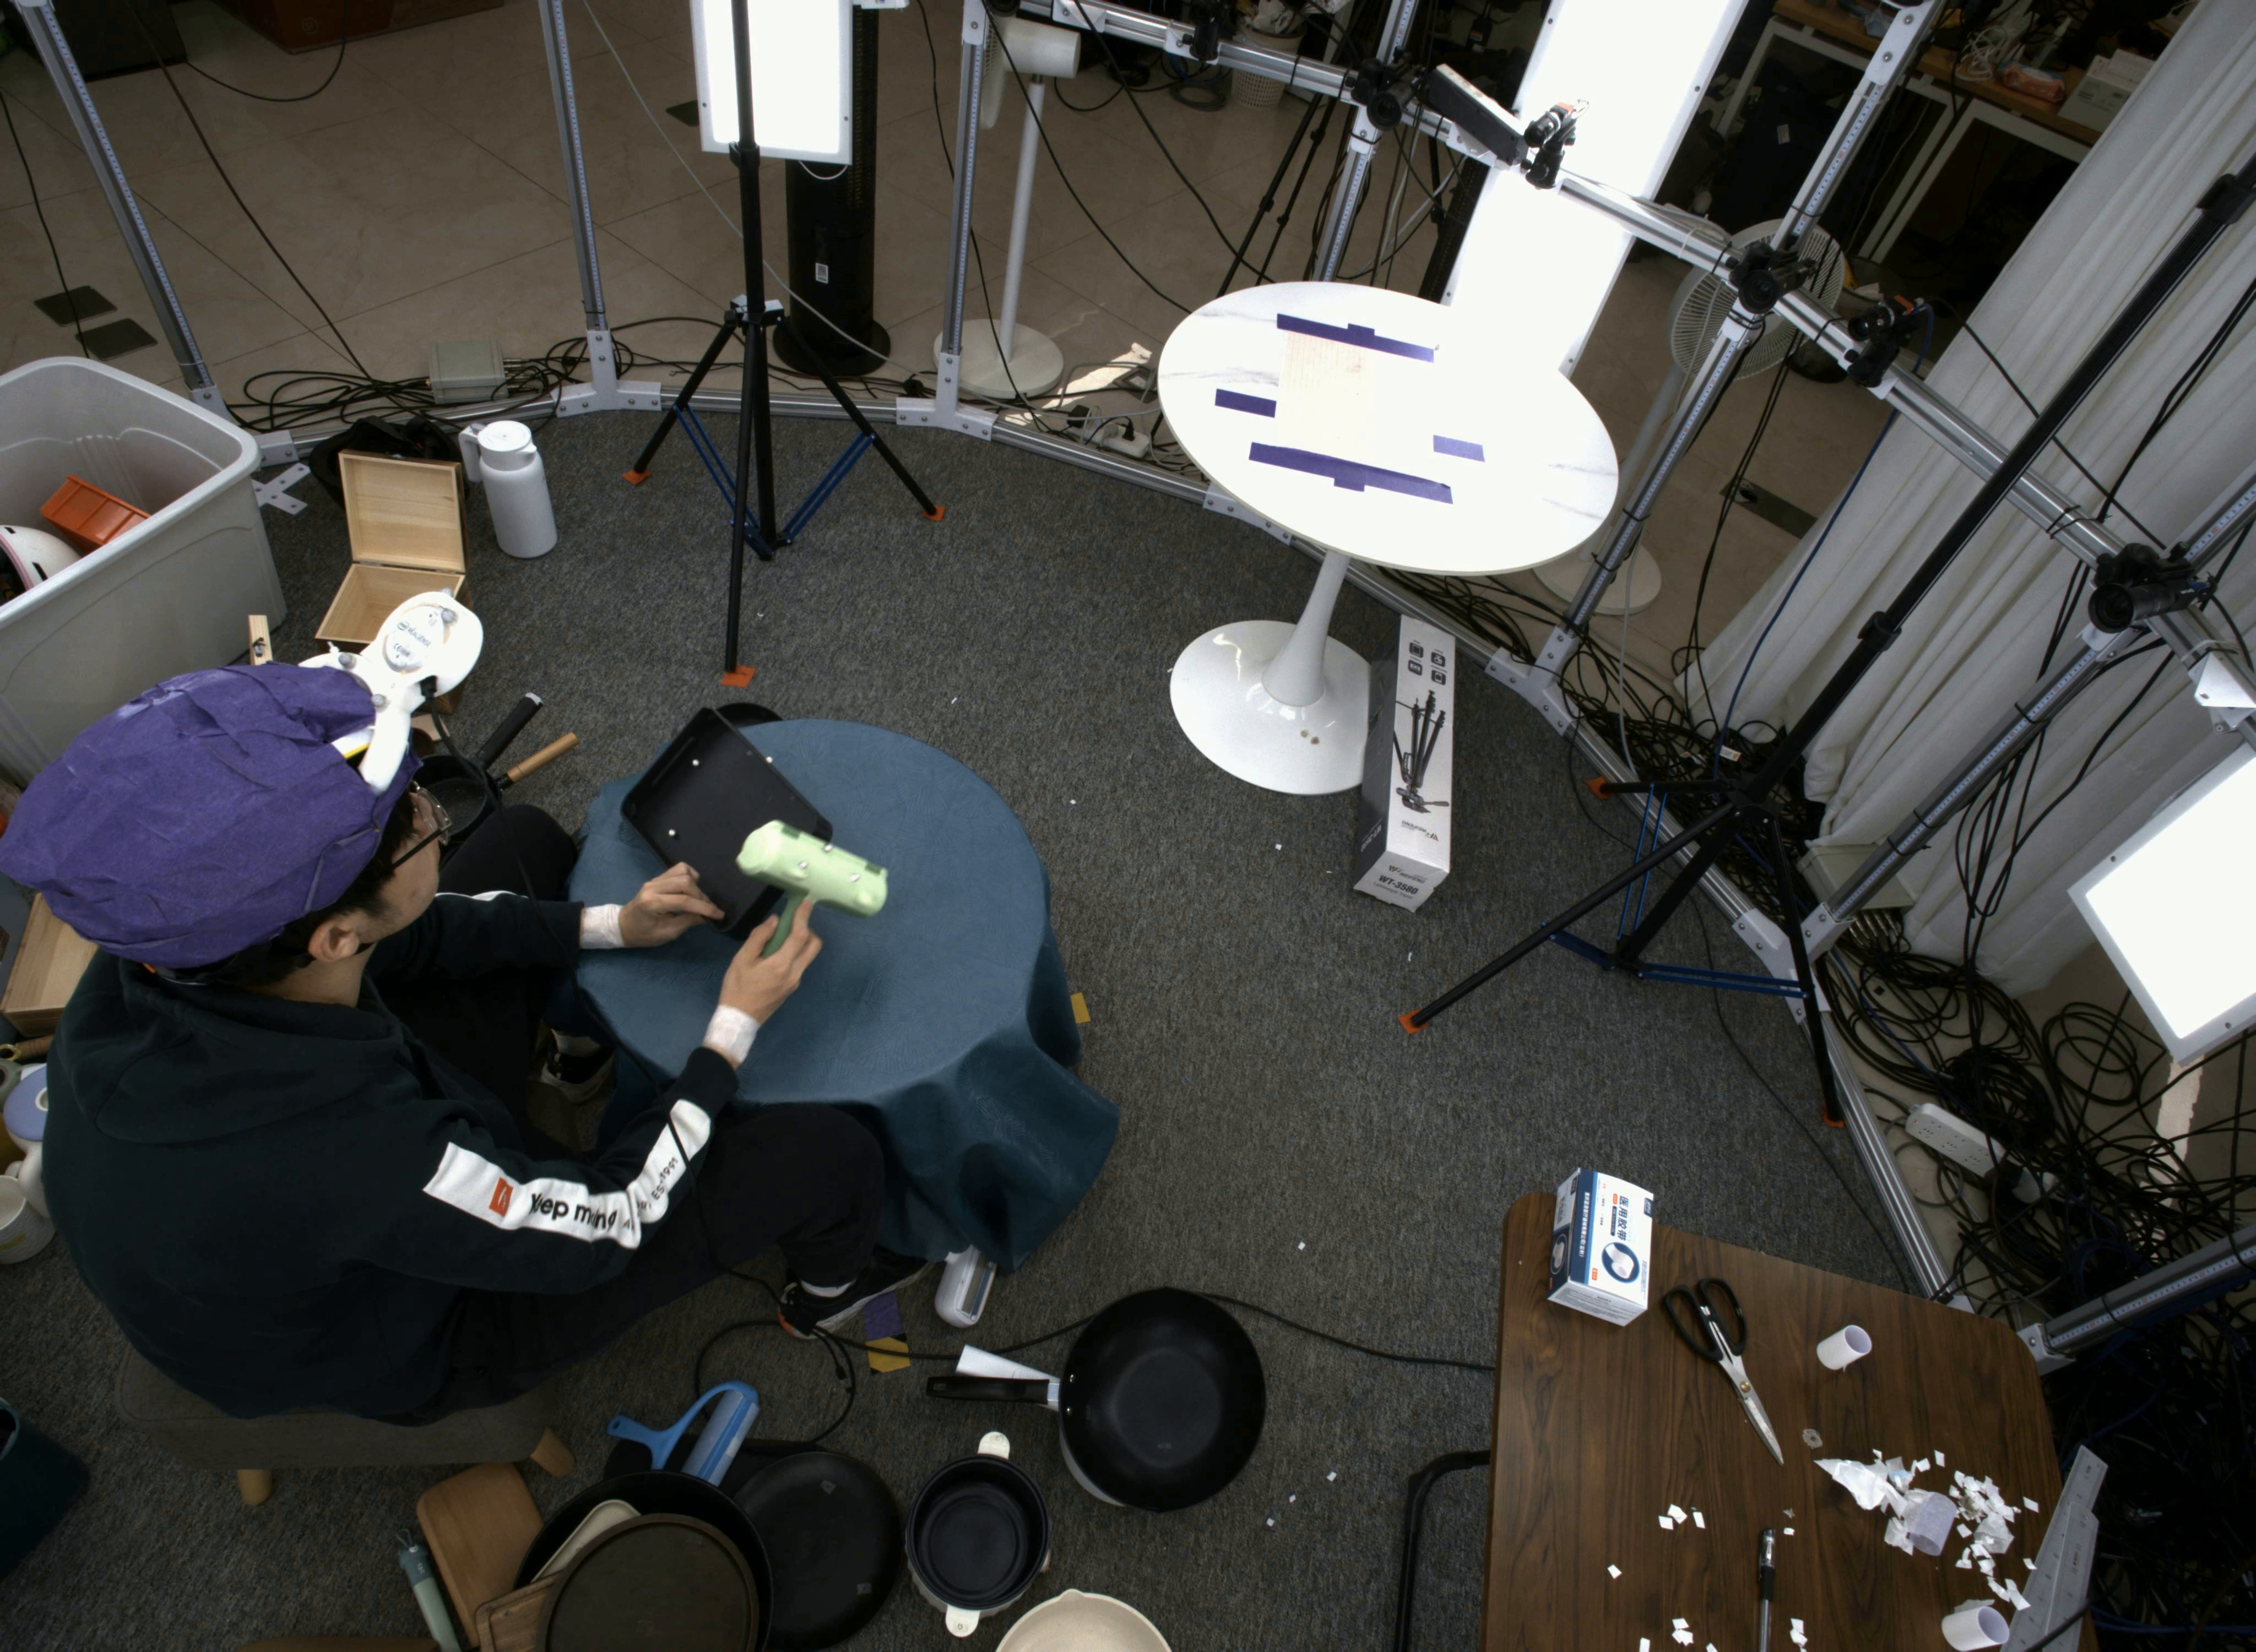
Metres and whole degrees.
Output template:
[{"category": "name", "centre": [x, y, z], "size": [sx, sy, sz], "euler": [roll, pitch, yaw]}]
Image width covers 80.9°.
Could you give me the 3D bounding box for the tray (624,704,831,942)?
[{"category": "tray", "centre": [-0.500, -0.011, 1.587], "size": [0.184, 0.038, 0.306], "euler": [-50, 54, -2]}]

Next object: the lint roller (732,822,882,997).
[{"category": "lint roller", "centre": [-0.376, 0.110, 1.481], "size": [0.079, 0.205, 0.184], "euler": [11, 78, 35]}]
